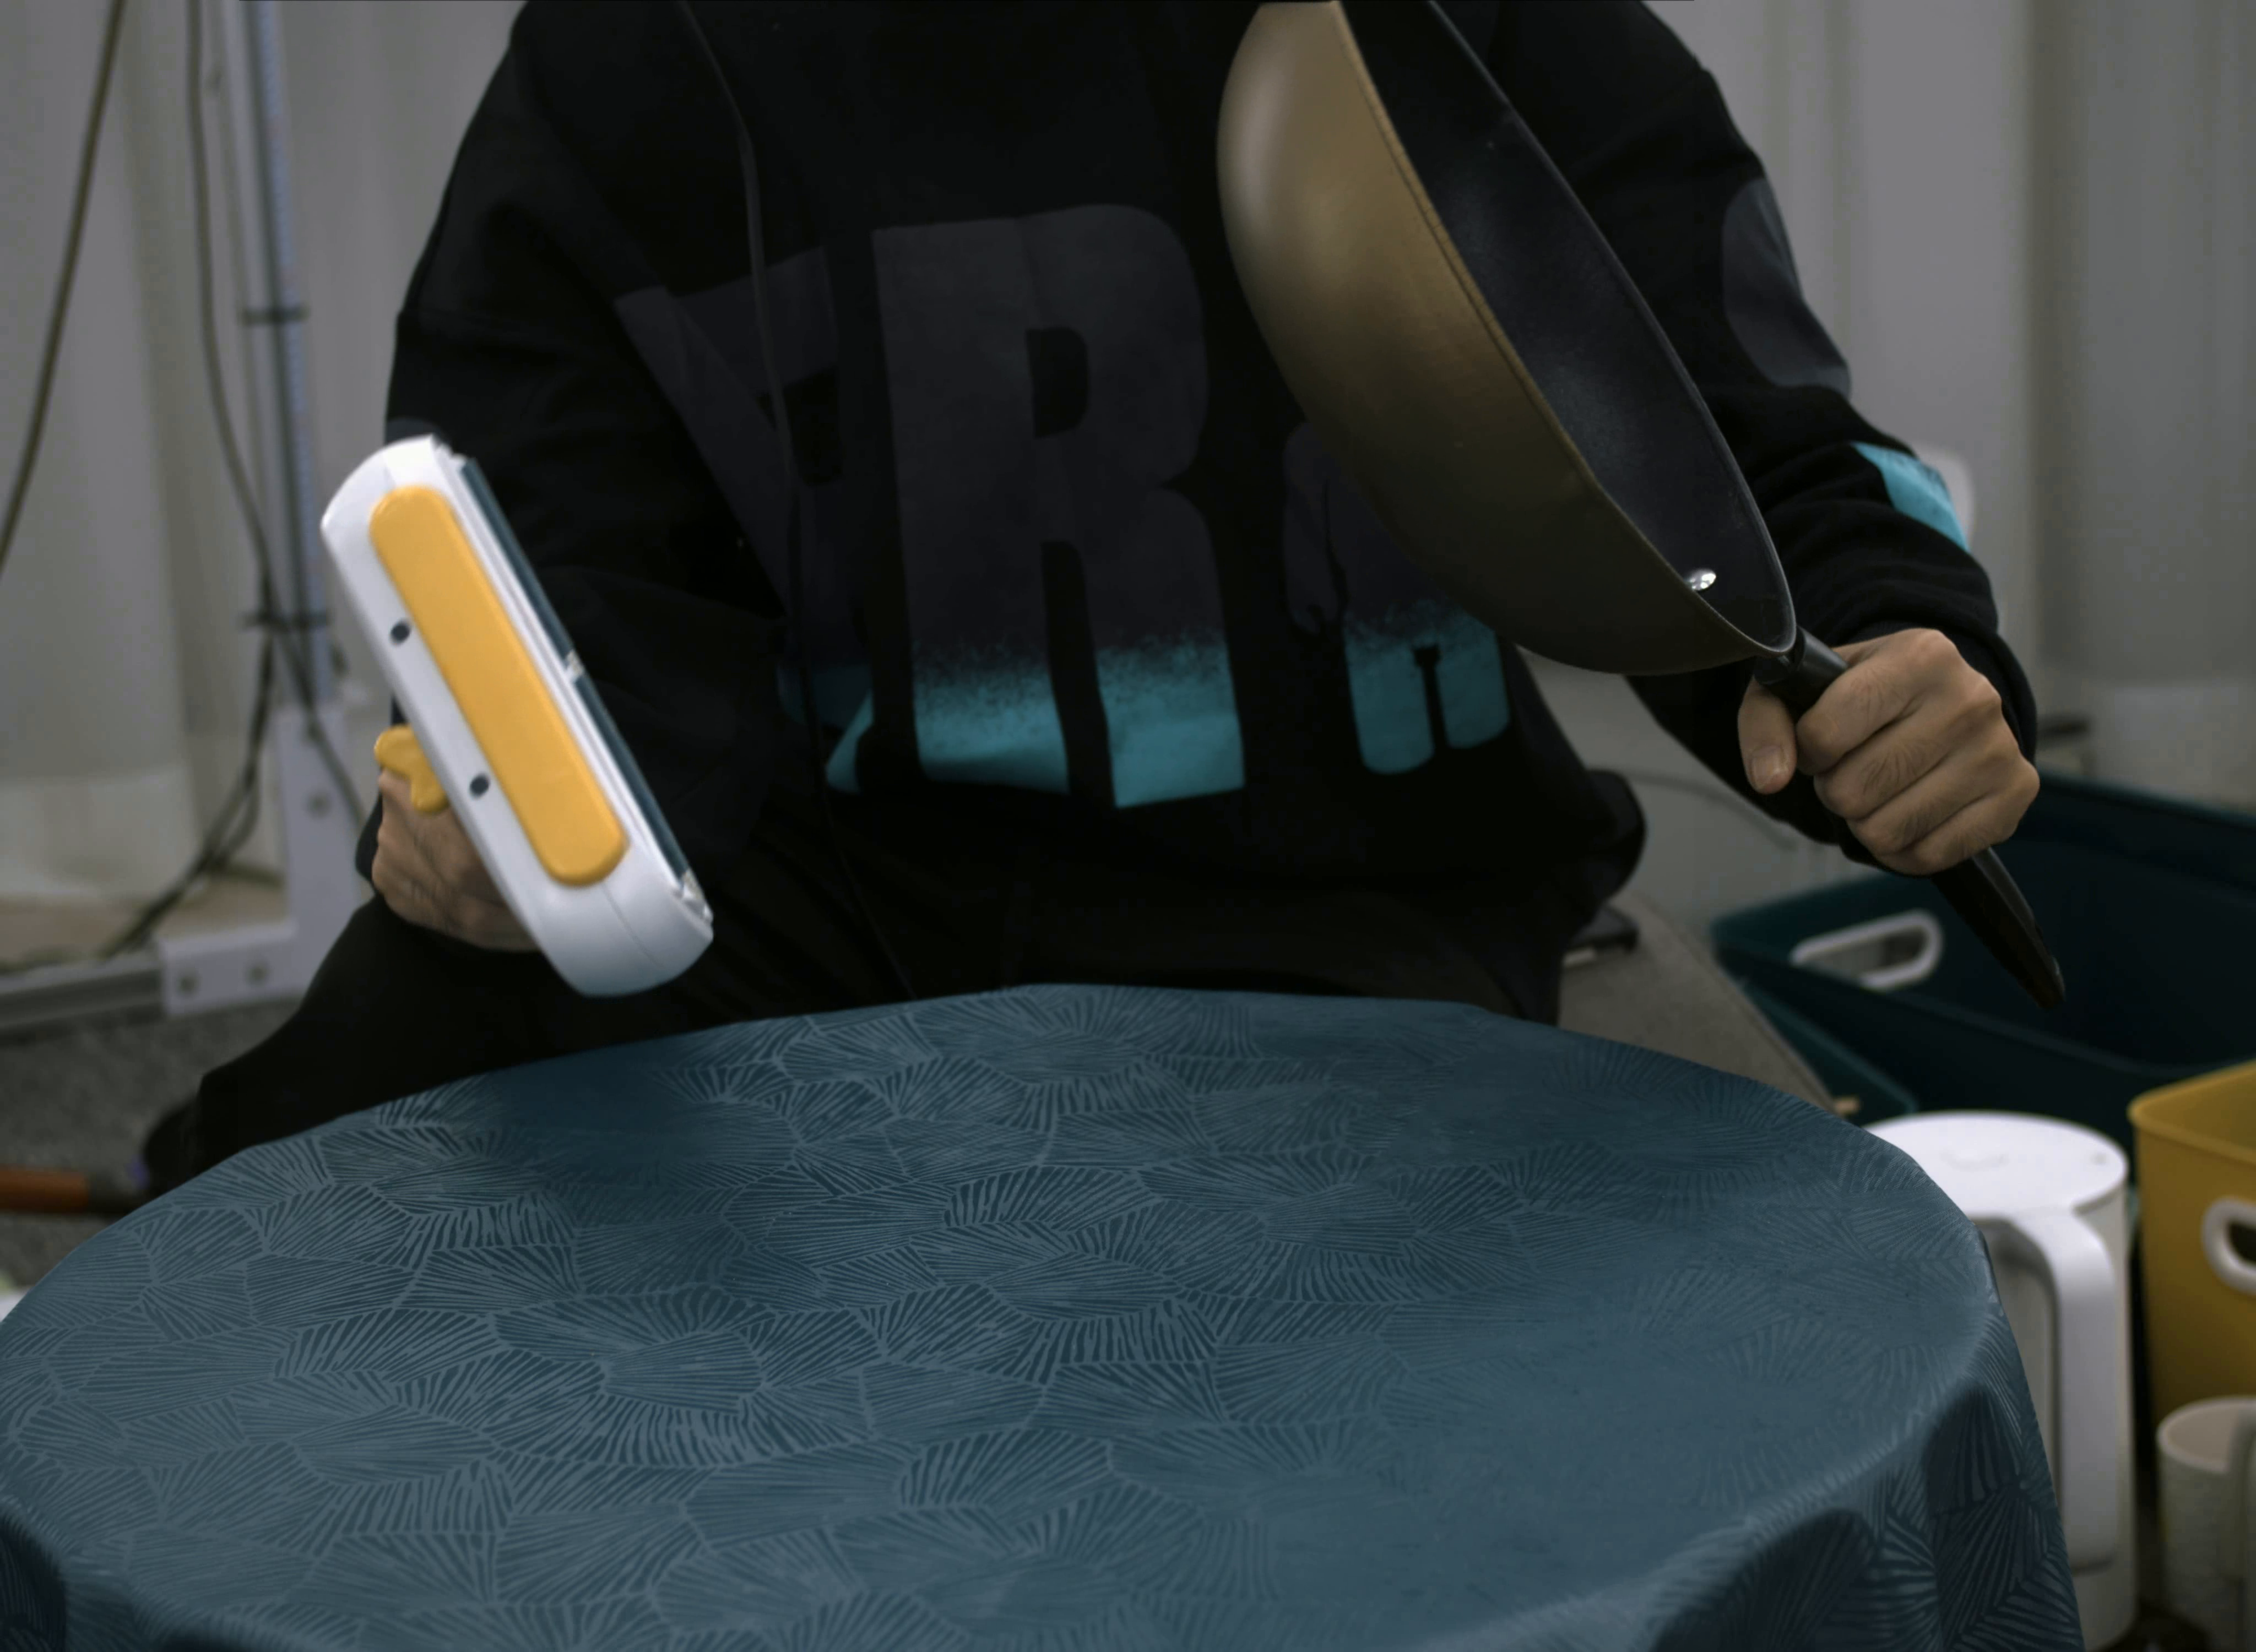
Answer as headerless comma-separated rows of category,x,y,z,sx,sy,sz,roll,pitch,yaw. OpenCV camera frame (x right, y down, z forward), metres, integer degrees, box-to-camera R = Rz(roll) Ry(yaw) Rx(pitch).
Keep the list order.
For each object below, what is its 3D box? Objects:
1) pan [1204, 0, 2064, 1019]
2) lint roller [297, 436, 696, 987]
pan,0.157,-0.091,1.800,0.086,0.459,0.292,-33,24,15
lint roller,-0.196,-0.010,1.758,0.074,0.195,0.190,-32,-23,-8
